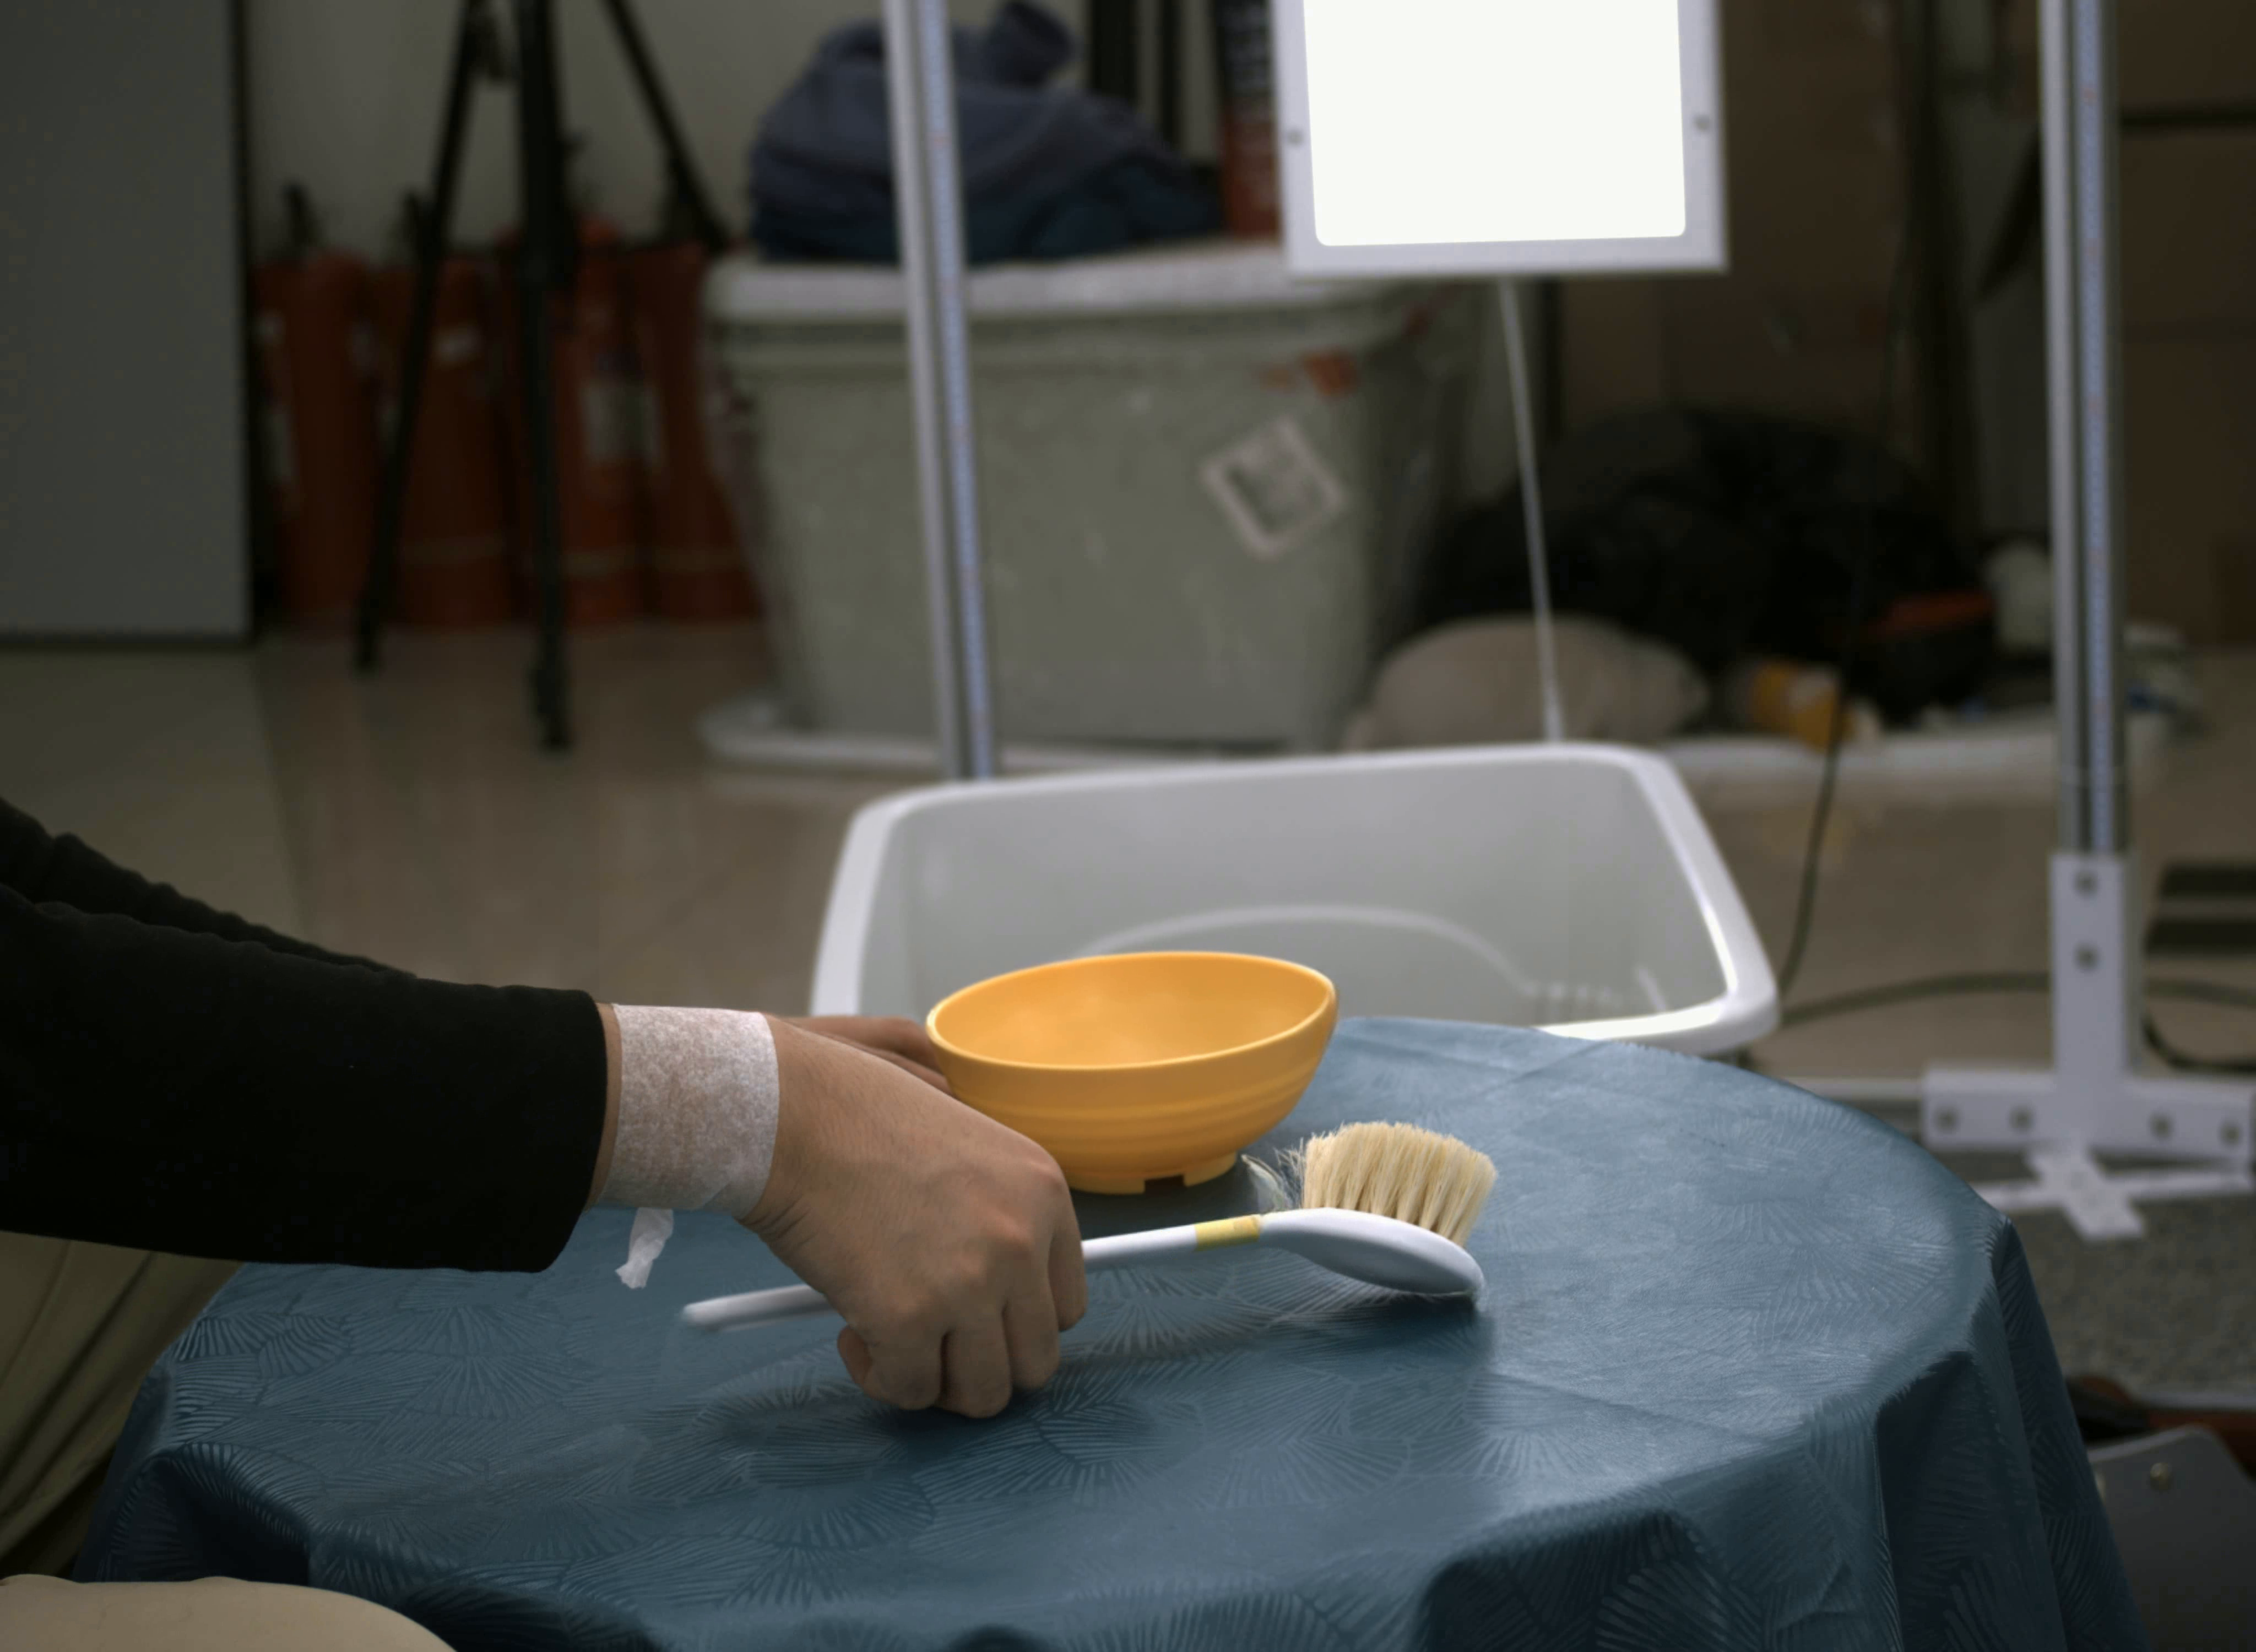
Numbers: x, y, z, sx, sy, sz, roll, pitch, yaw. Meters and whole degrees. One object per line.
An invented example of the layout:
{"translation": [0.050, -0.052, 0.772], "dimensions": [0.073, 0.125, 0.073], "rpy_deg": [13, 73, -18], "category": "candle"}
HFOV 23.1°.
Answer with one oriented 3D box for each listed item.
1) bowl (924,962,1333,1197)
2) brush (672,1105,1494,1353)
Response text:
{"translation": [0.003, 0.092, 1.918], "dimensions": [0.145, 0.060, 0.145], "rpy_deg": [-6, 12, 0], "category": "bowl"}
{"translation": [-0.013, 0.126, 1.730], "dimensions": [0.264, 0.056, 0.069], "rpy_deg": [-4, -20, -7], "category": "brush"}
